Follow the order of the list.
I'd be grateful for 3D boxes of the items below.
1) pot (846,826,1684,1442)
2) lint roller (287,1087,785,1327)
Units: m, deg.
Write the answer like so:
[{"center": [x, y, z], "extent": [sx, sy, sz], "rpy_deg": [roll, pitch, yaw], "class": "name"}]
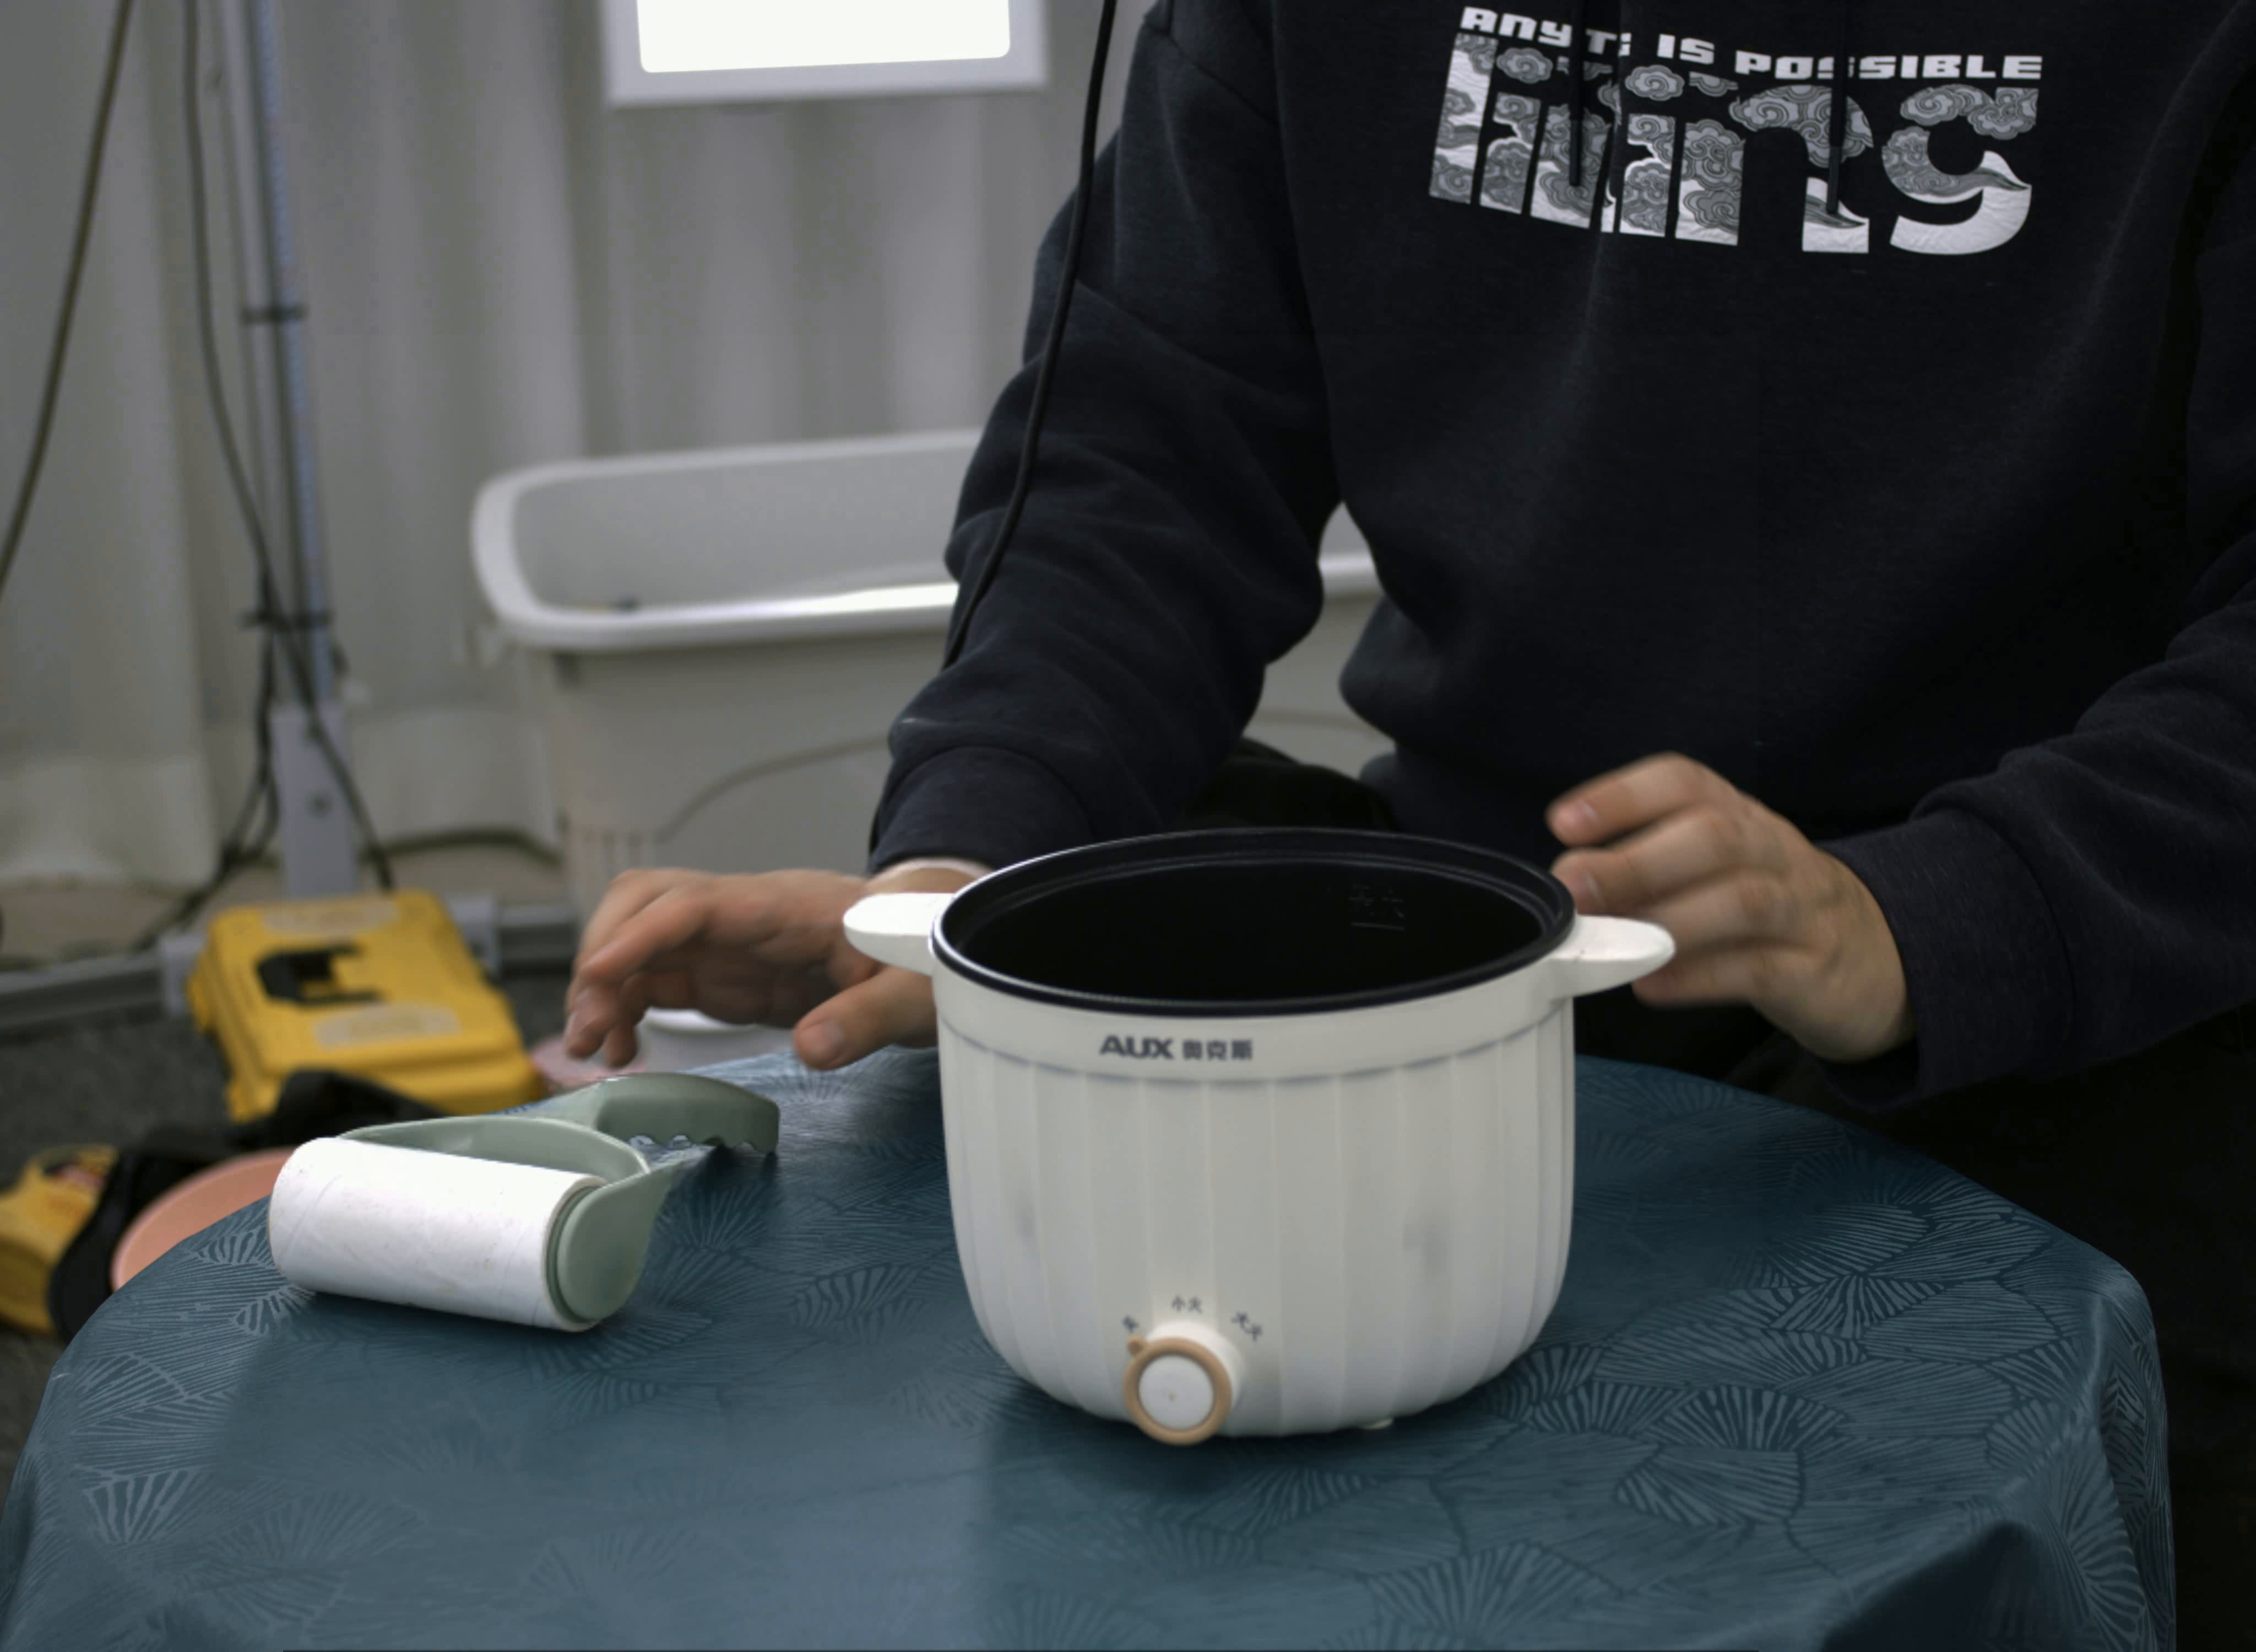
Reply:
[{"center": [0.039, 0.089, 1.541], "extent": [0.240, 0.142, 0.191], "rpy_deg": [0, 12, 15], "class": "pot"}, {"center": [-0.160, 0.107, 1.692], "extent": [0.117, 0.048, 0.197], "rpy_deg": [2, 13, 29], "class": "lint roller"}]
